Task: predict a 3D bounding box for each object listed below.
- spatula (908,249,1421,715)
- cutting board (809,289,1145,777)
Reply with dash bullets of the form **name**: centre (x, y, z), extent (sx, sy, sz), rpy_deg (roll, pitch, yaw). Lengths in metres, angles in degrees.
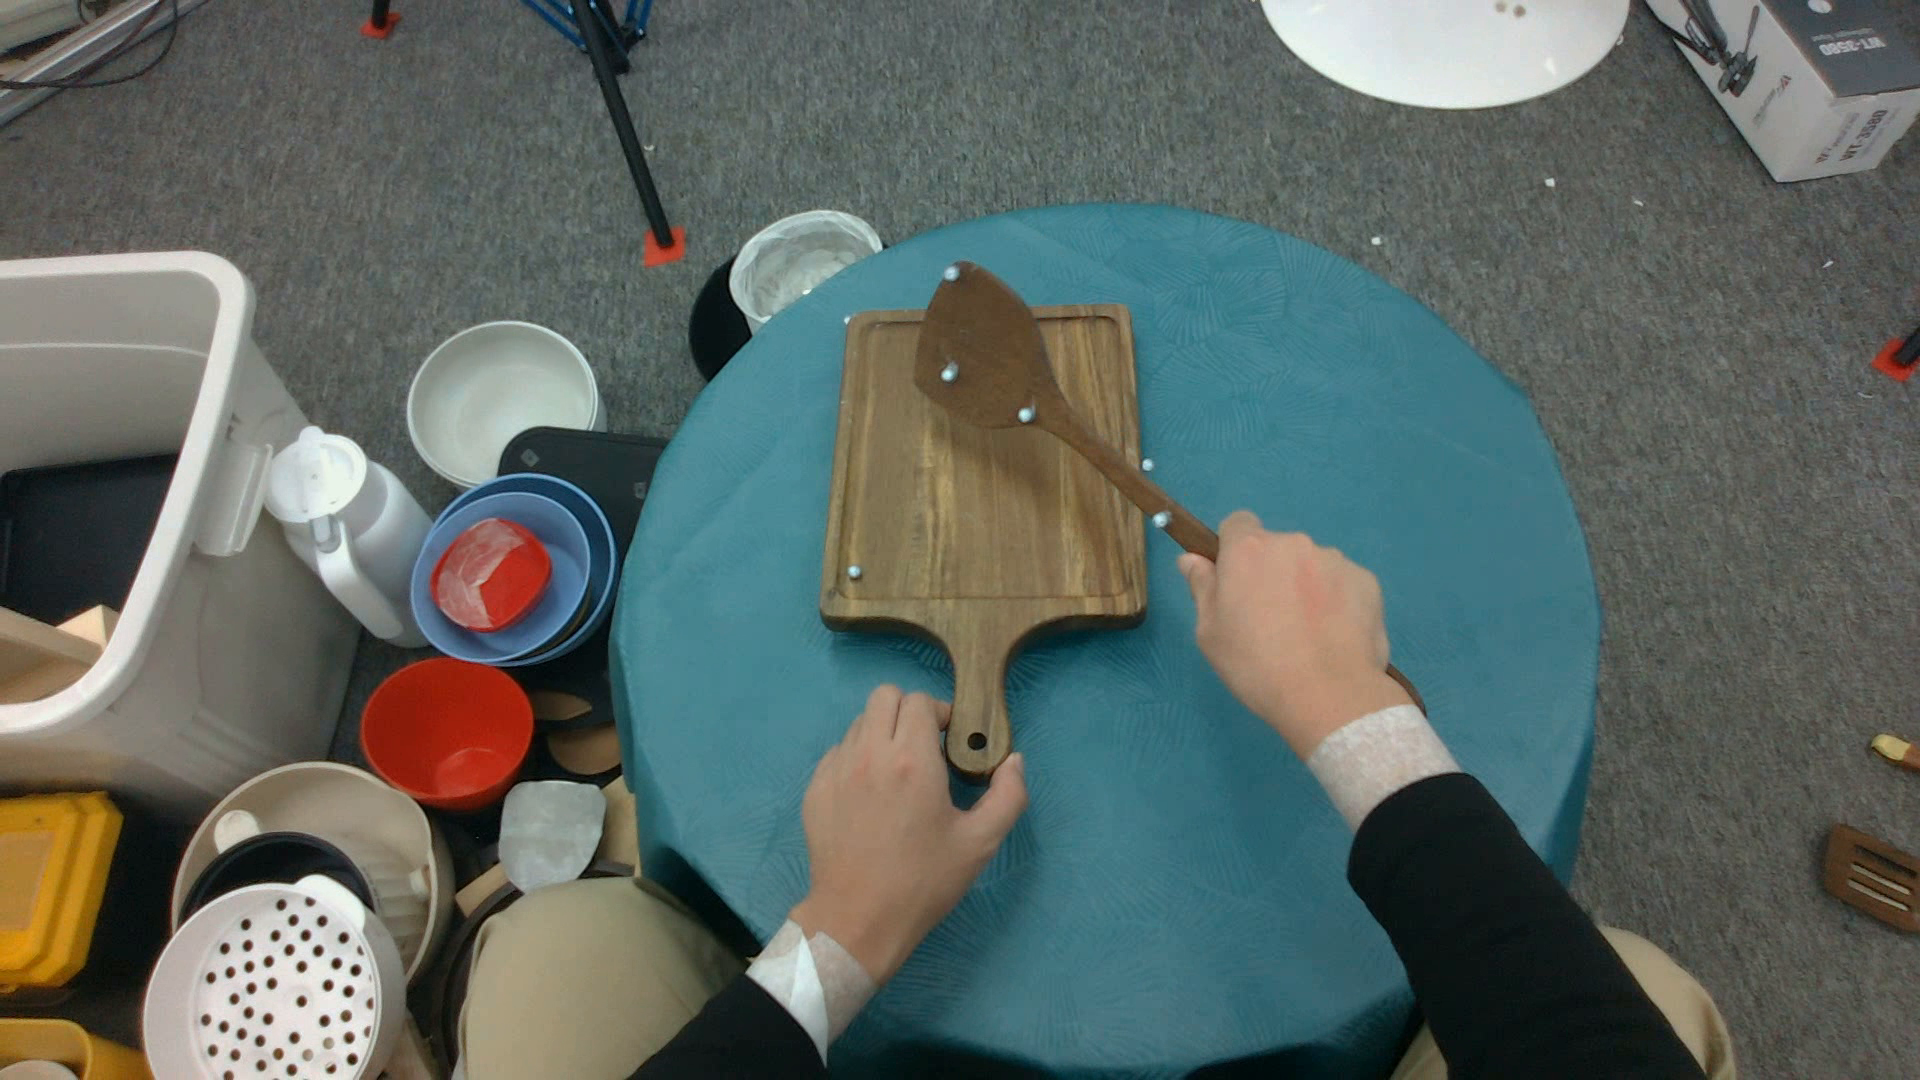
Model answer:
- **spatula**: centre (0.099, -0.033, 0.766), extent (0.016, 0.095, 0.386), rpy_deg (-16, 49, -43)
- **cutting board**: centre (0.010, -0.020, 0.849), extent (0.201, 0.023, 0.353), rpy_deg (-1, 56, 4)
